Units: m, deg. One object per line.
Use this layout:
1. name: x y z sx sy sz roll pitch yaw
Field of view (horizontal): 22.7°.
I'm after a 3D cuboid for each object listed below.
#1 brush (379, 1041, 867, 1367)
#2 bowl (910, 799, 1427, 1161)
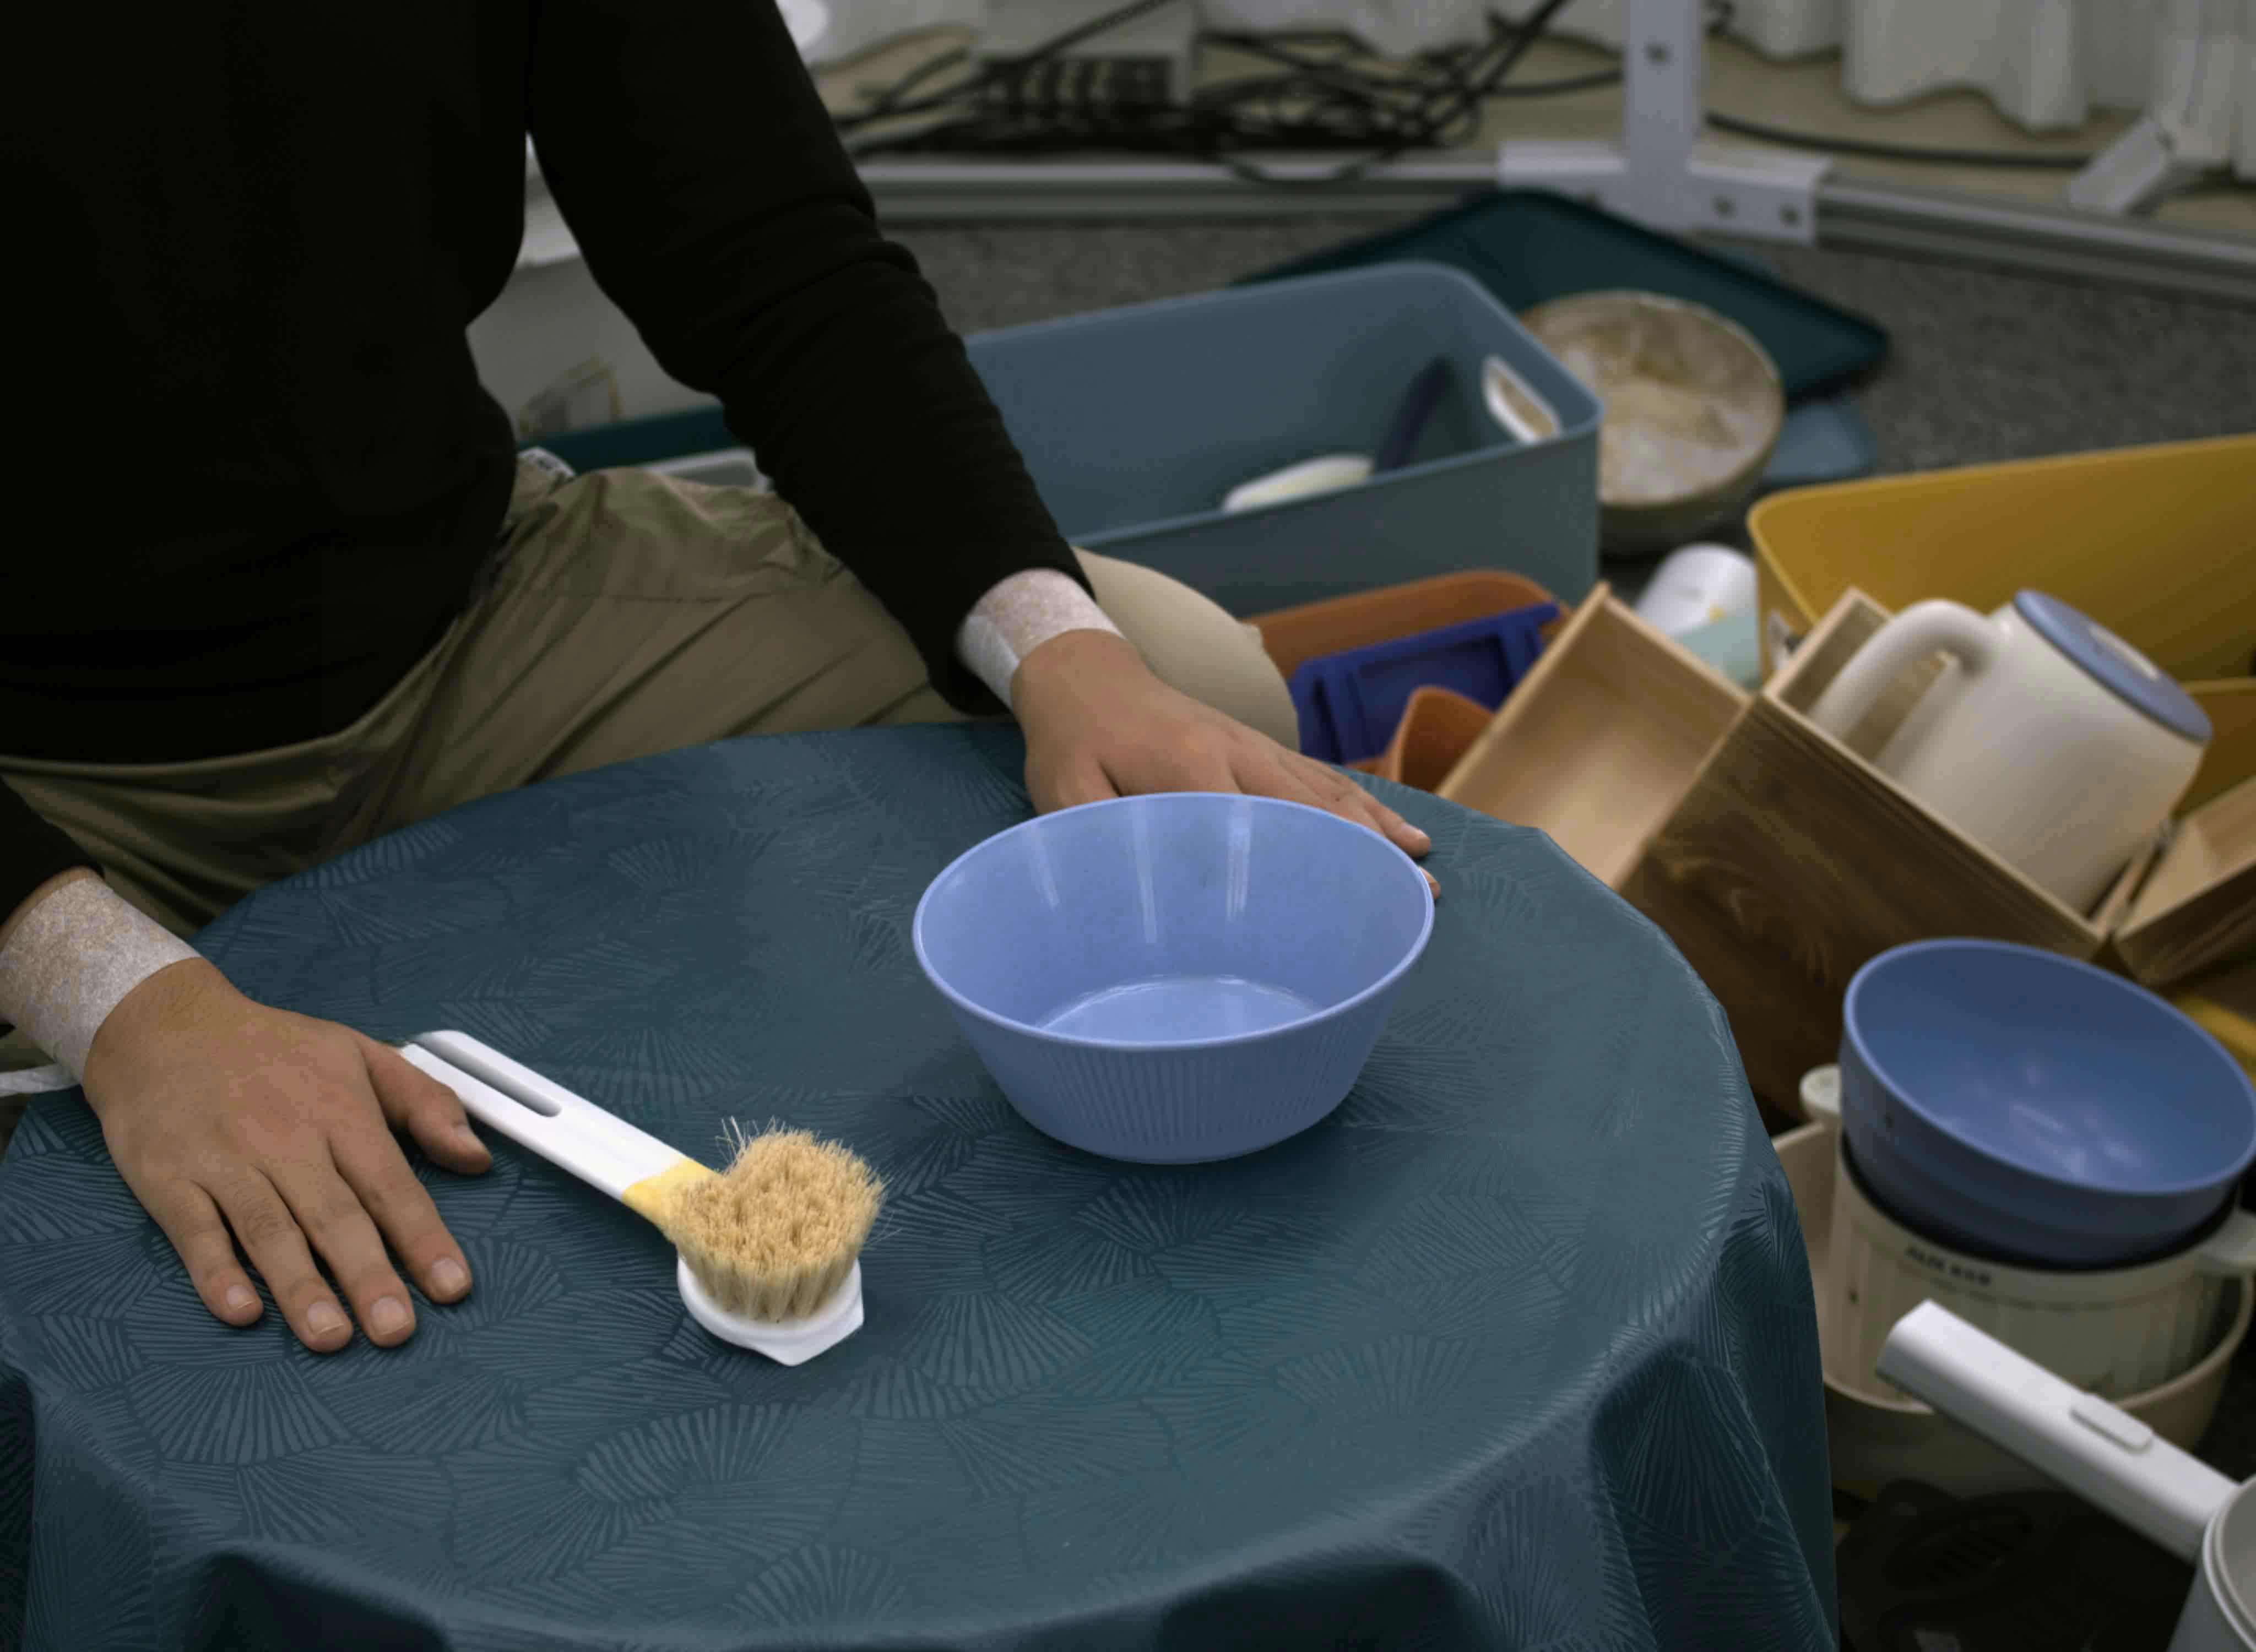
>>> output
1. brush: -0.177 0.102 1.859 0.069 0.055 0.267 -16 29 -33
2. bowl: 0.015 0.058 1.905 0.175 0.069 0.178 -2 26 2
